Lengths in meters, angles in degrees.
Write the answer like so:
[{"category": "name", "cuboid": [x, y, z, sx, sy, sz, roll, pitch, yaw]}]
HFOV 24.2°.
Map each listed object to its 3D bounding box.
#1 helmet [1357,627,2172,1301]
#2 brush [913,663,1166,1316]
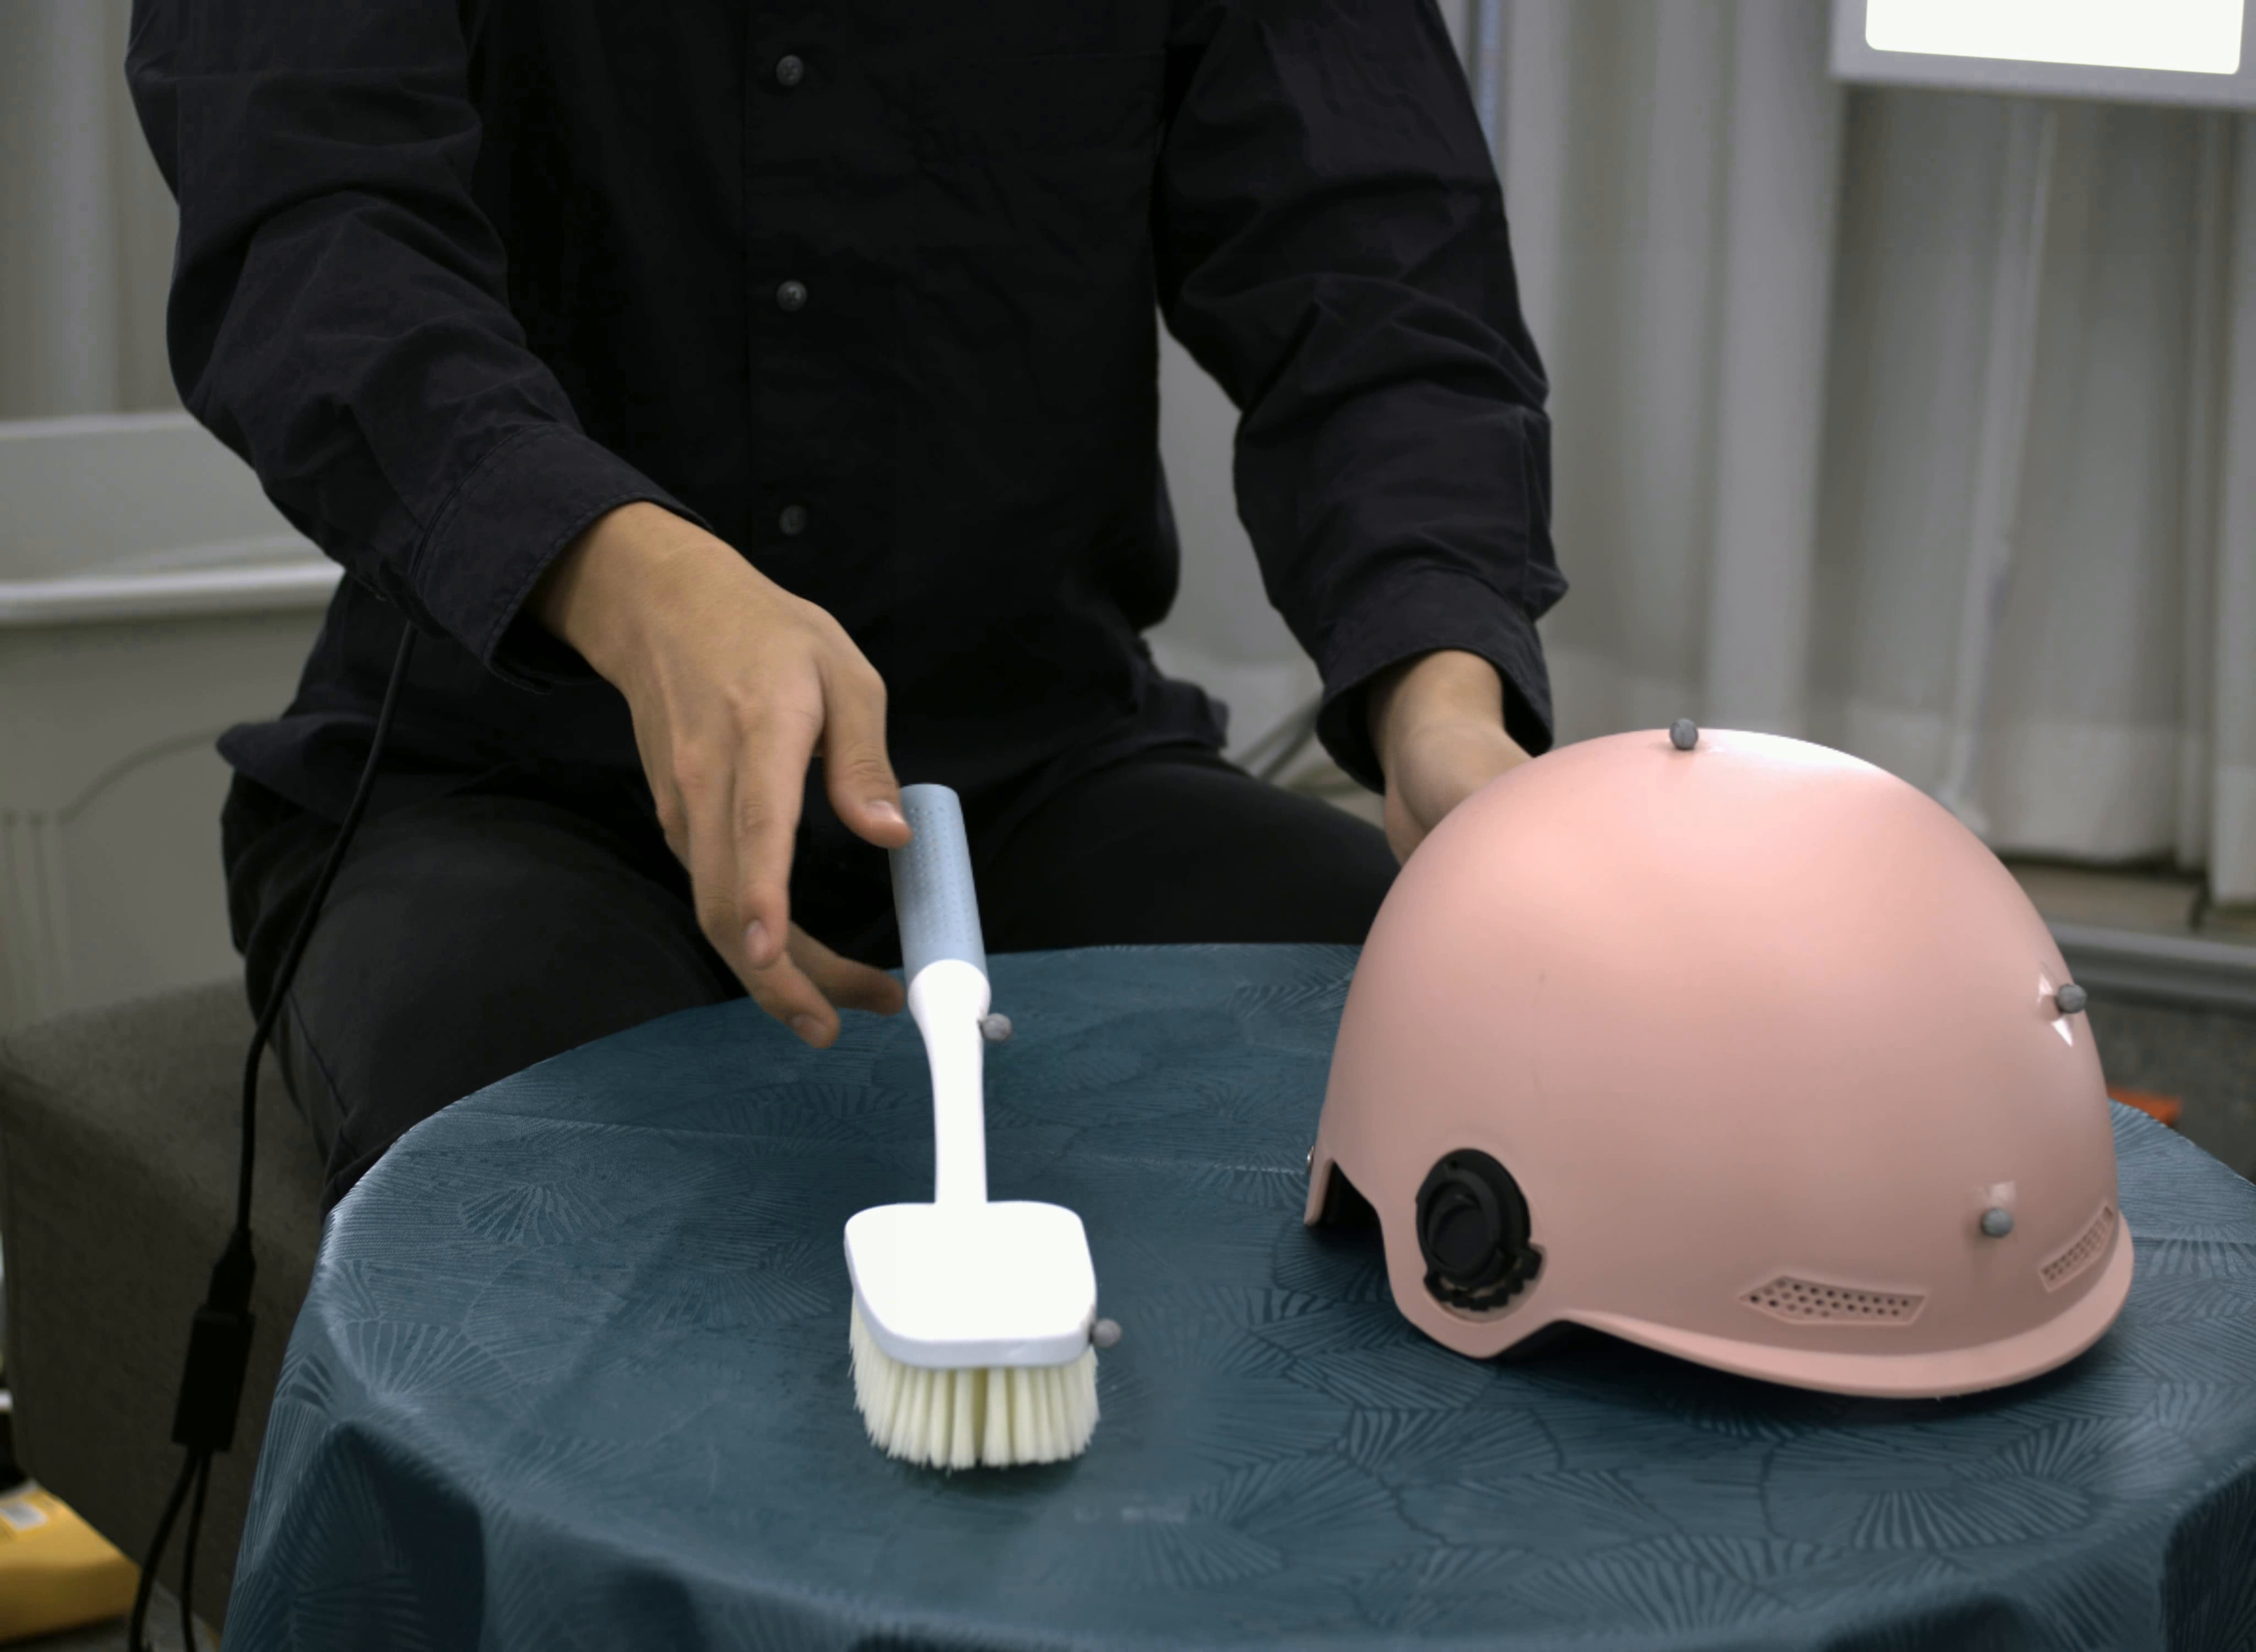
[{"category": "helmet", "cuboid": [0.196, 0.027, 1.576, 0.235, 0.160, 0.262, -8, 22, -30]}, {"category": "brush", "cuboid": [-0.028, 0.060, 1.570, 0.084, 0.084, 0.322, 33, 20, -21]}]
